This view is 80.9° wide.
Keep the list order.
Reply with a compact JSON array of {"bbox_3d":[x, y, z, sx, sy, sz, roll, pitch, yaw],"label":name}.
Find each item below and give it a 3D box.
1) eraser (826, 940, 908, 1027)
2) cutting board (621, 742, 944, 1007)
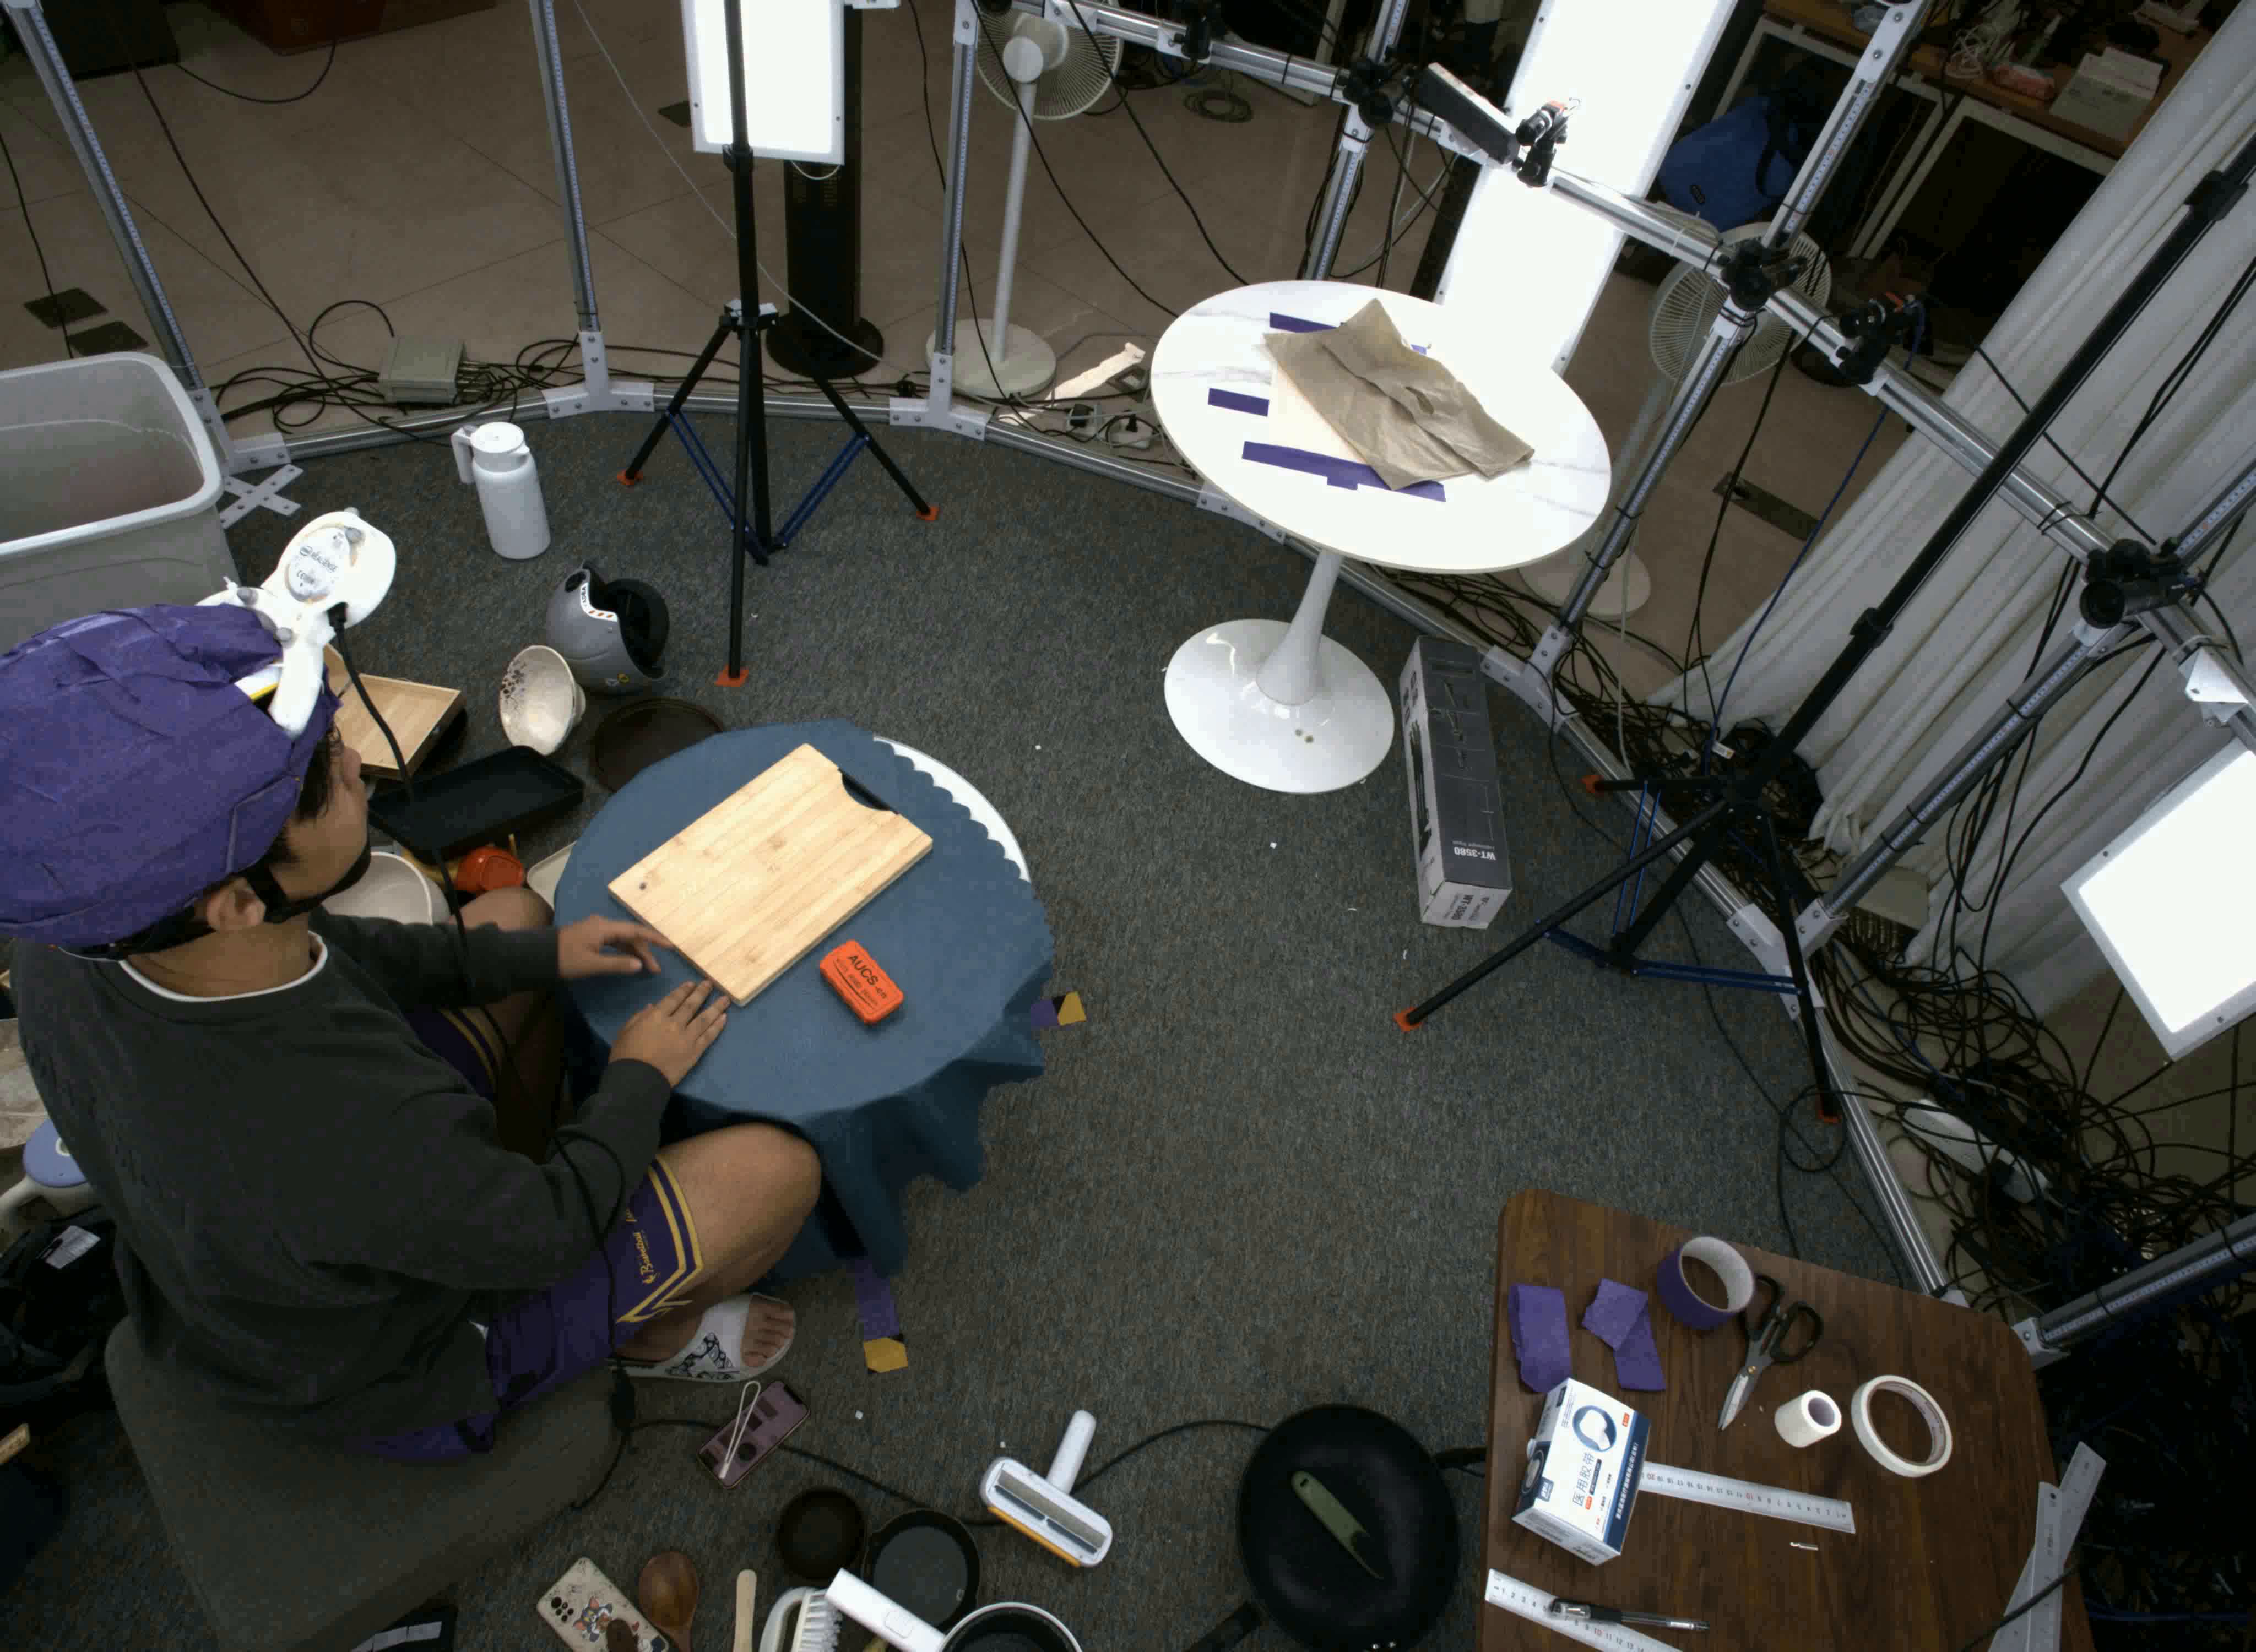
[{"bbox_3d":[-0.321,0.191,1.597,0.059,0.023,0.105,-32,66,-33],"label":"eraser"},{"bbox_3d":[-0.445,0.049,1.677,0.246,0.024,0.348,36,54,13],"label":"cutting board"}]
